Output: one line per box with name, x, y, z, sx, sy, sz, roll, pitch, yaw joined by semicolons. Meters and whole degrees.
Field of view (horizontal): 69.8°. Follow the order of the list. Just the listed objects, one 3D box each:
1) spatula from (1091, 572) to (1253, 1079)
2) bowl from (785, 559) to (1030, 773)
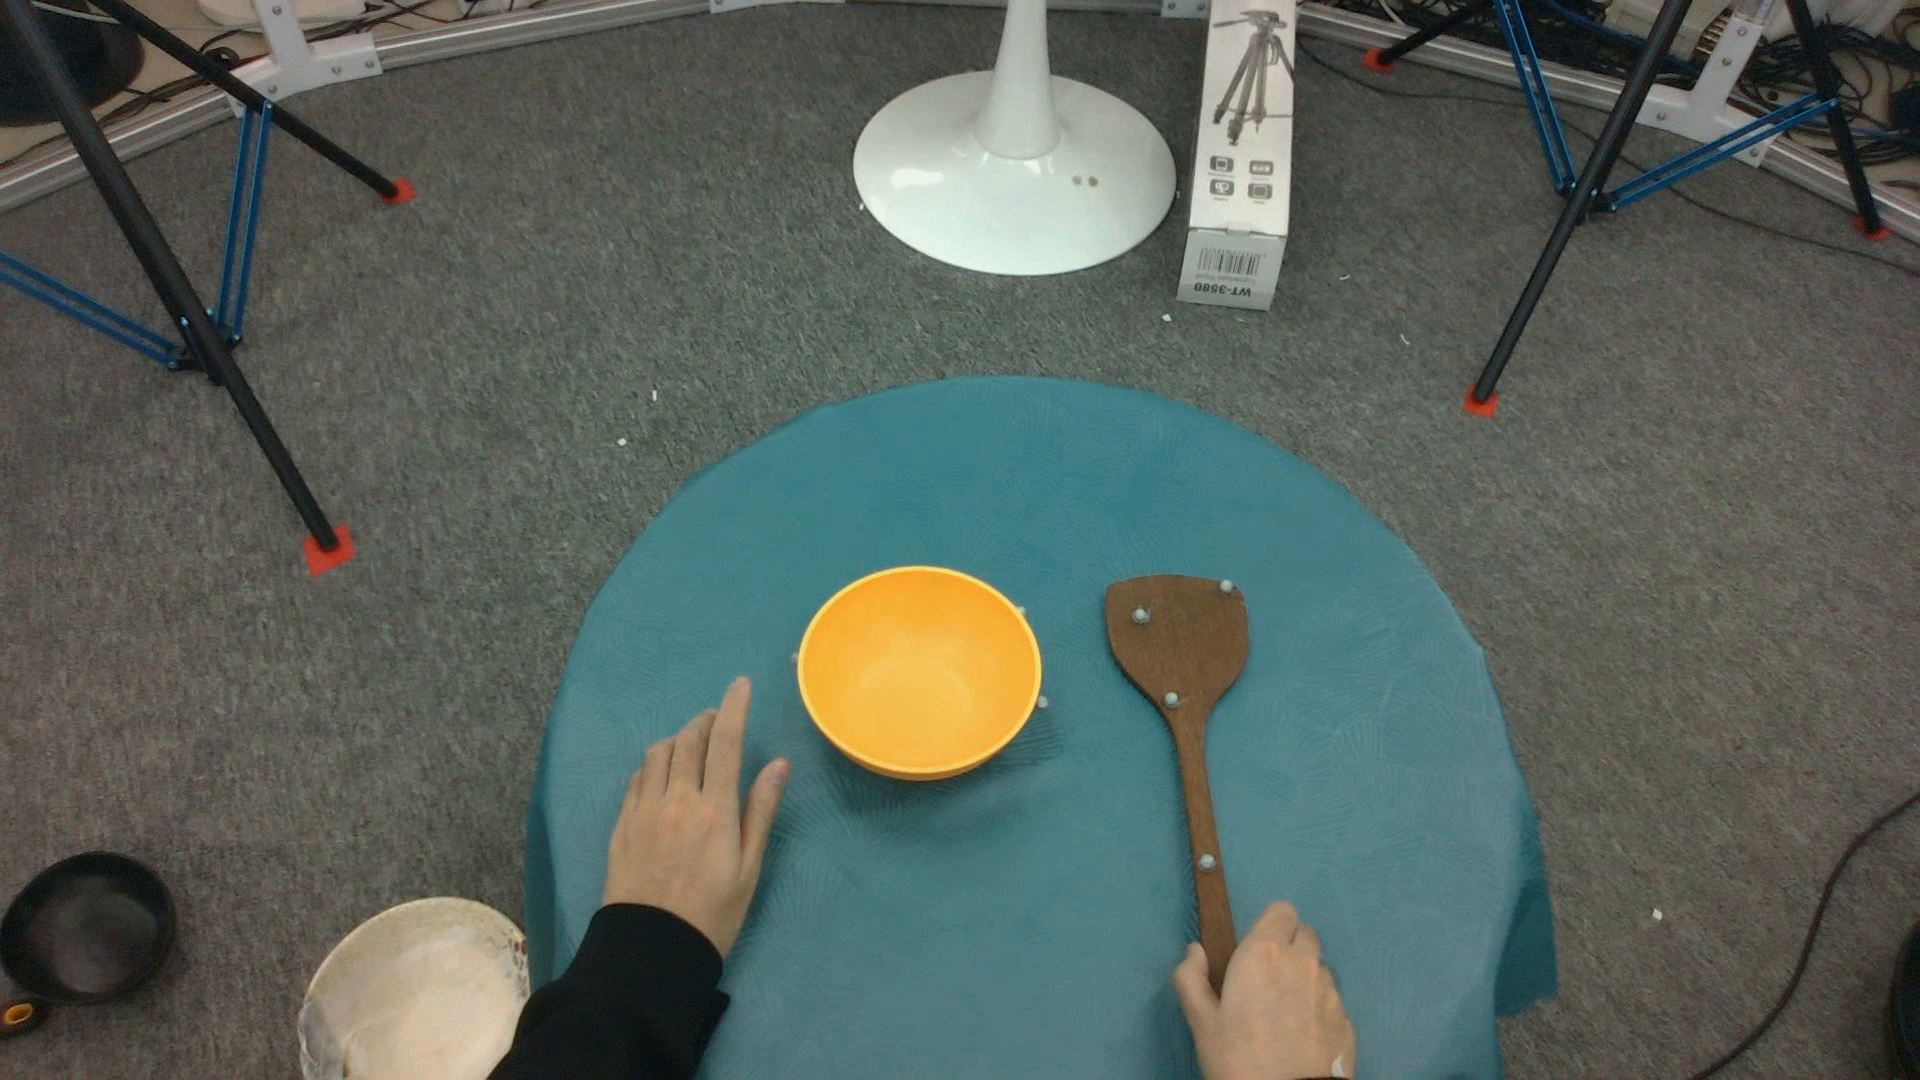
spatula;0.135;0.167;0.800;0.096;0.016;0.388;1;48;-2
bowl;-0.031;0.086;0.836;0.145;0.060;0.146;0;53;0
